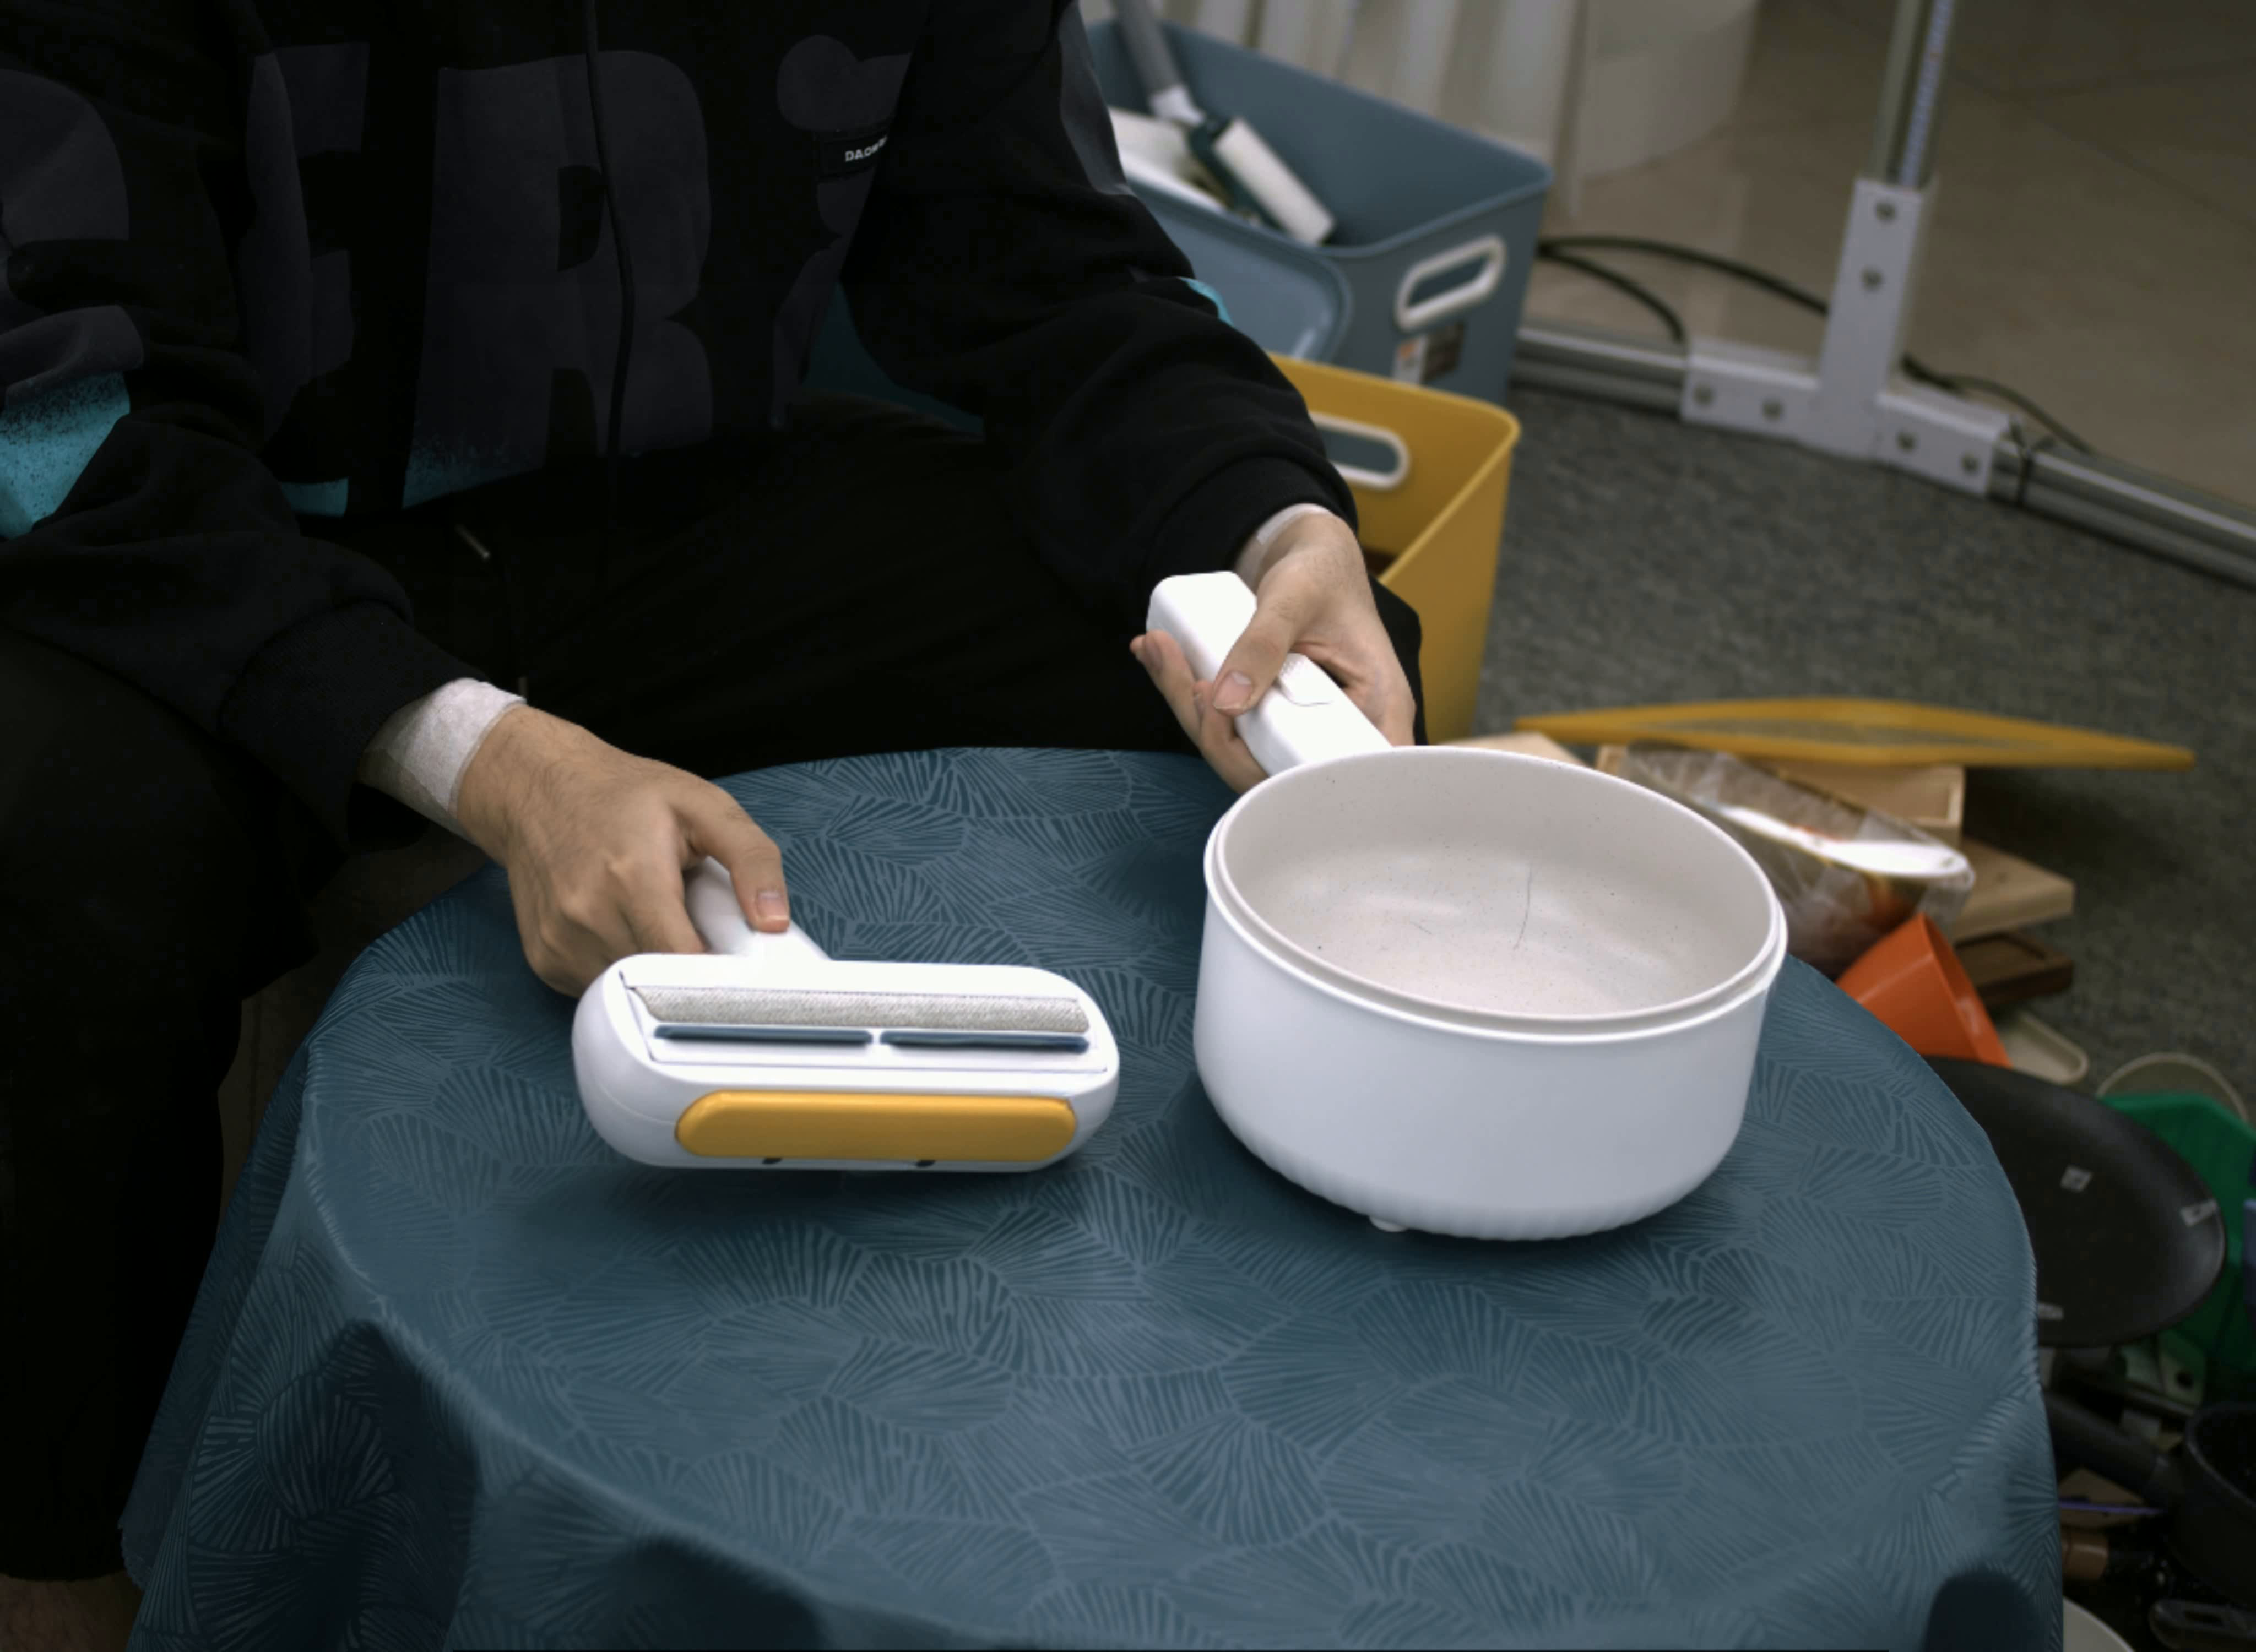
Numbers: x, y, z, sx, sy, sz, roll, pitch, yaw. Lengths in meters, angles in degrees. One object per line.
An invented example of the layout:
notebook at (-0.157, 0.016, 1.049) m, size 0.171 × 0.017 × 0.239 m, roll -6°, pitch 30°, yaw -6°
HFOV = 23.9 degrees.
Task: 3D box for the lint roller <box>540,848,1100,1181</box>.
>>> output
lint roller at (-0.121, 0.052, 1.820) m, size 0.191 × 0.074 × 0.194 m, roll 1°, pitch 34°, yaw -22°

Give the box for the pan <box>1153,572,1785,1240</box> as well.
pan at (0.090, 0.026, 1.898) m, size 0.200 × 0.102 × 0.358 m, roll -6°, pitch 29°, yaw -23°
